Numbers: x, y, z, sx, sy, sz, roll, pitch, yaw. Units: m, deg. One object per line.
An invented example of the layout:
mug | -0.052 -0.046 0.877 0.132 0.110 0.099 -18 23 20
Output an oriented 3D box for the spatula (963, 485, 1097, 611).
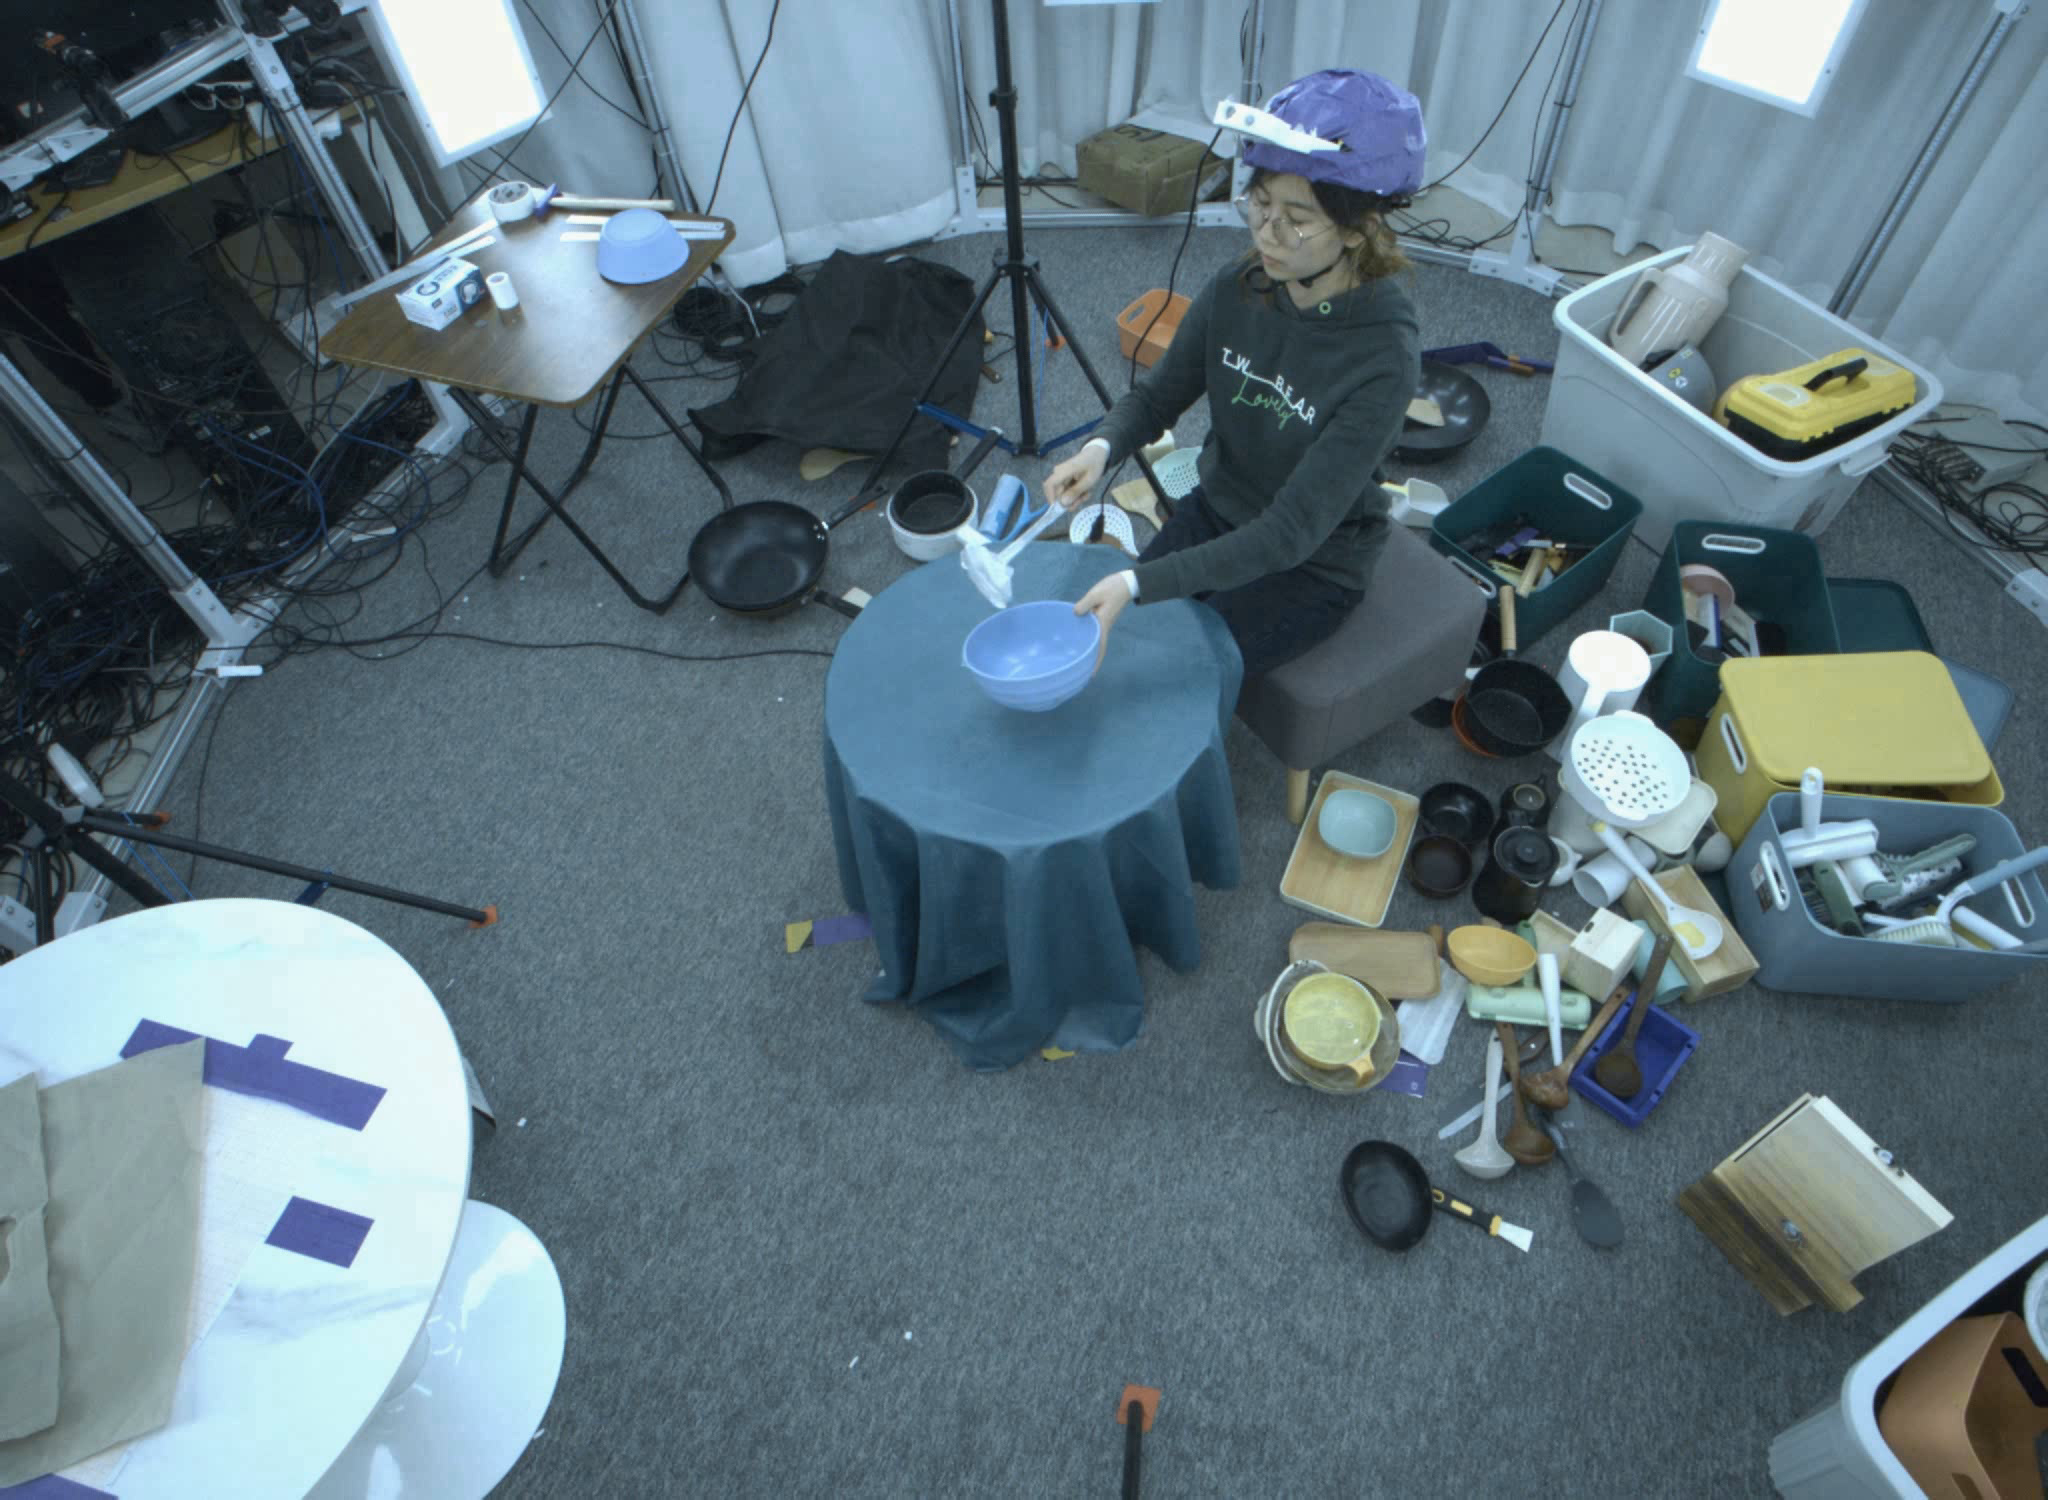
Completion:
spatula | 0.023 -0.314 1.779 0.099 0.044 0.367 51 50 -11

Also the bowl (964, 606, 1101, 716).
bowl | 0.021 -0.113 1.748 0.195 0.097 0.194 -8 38 8
